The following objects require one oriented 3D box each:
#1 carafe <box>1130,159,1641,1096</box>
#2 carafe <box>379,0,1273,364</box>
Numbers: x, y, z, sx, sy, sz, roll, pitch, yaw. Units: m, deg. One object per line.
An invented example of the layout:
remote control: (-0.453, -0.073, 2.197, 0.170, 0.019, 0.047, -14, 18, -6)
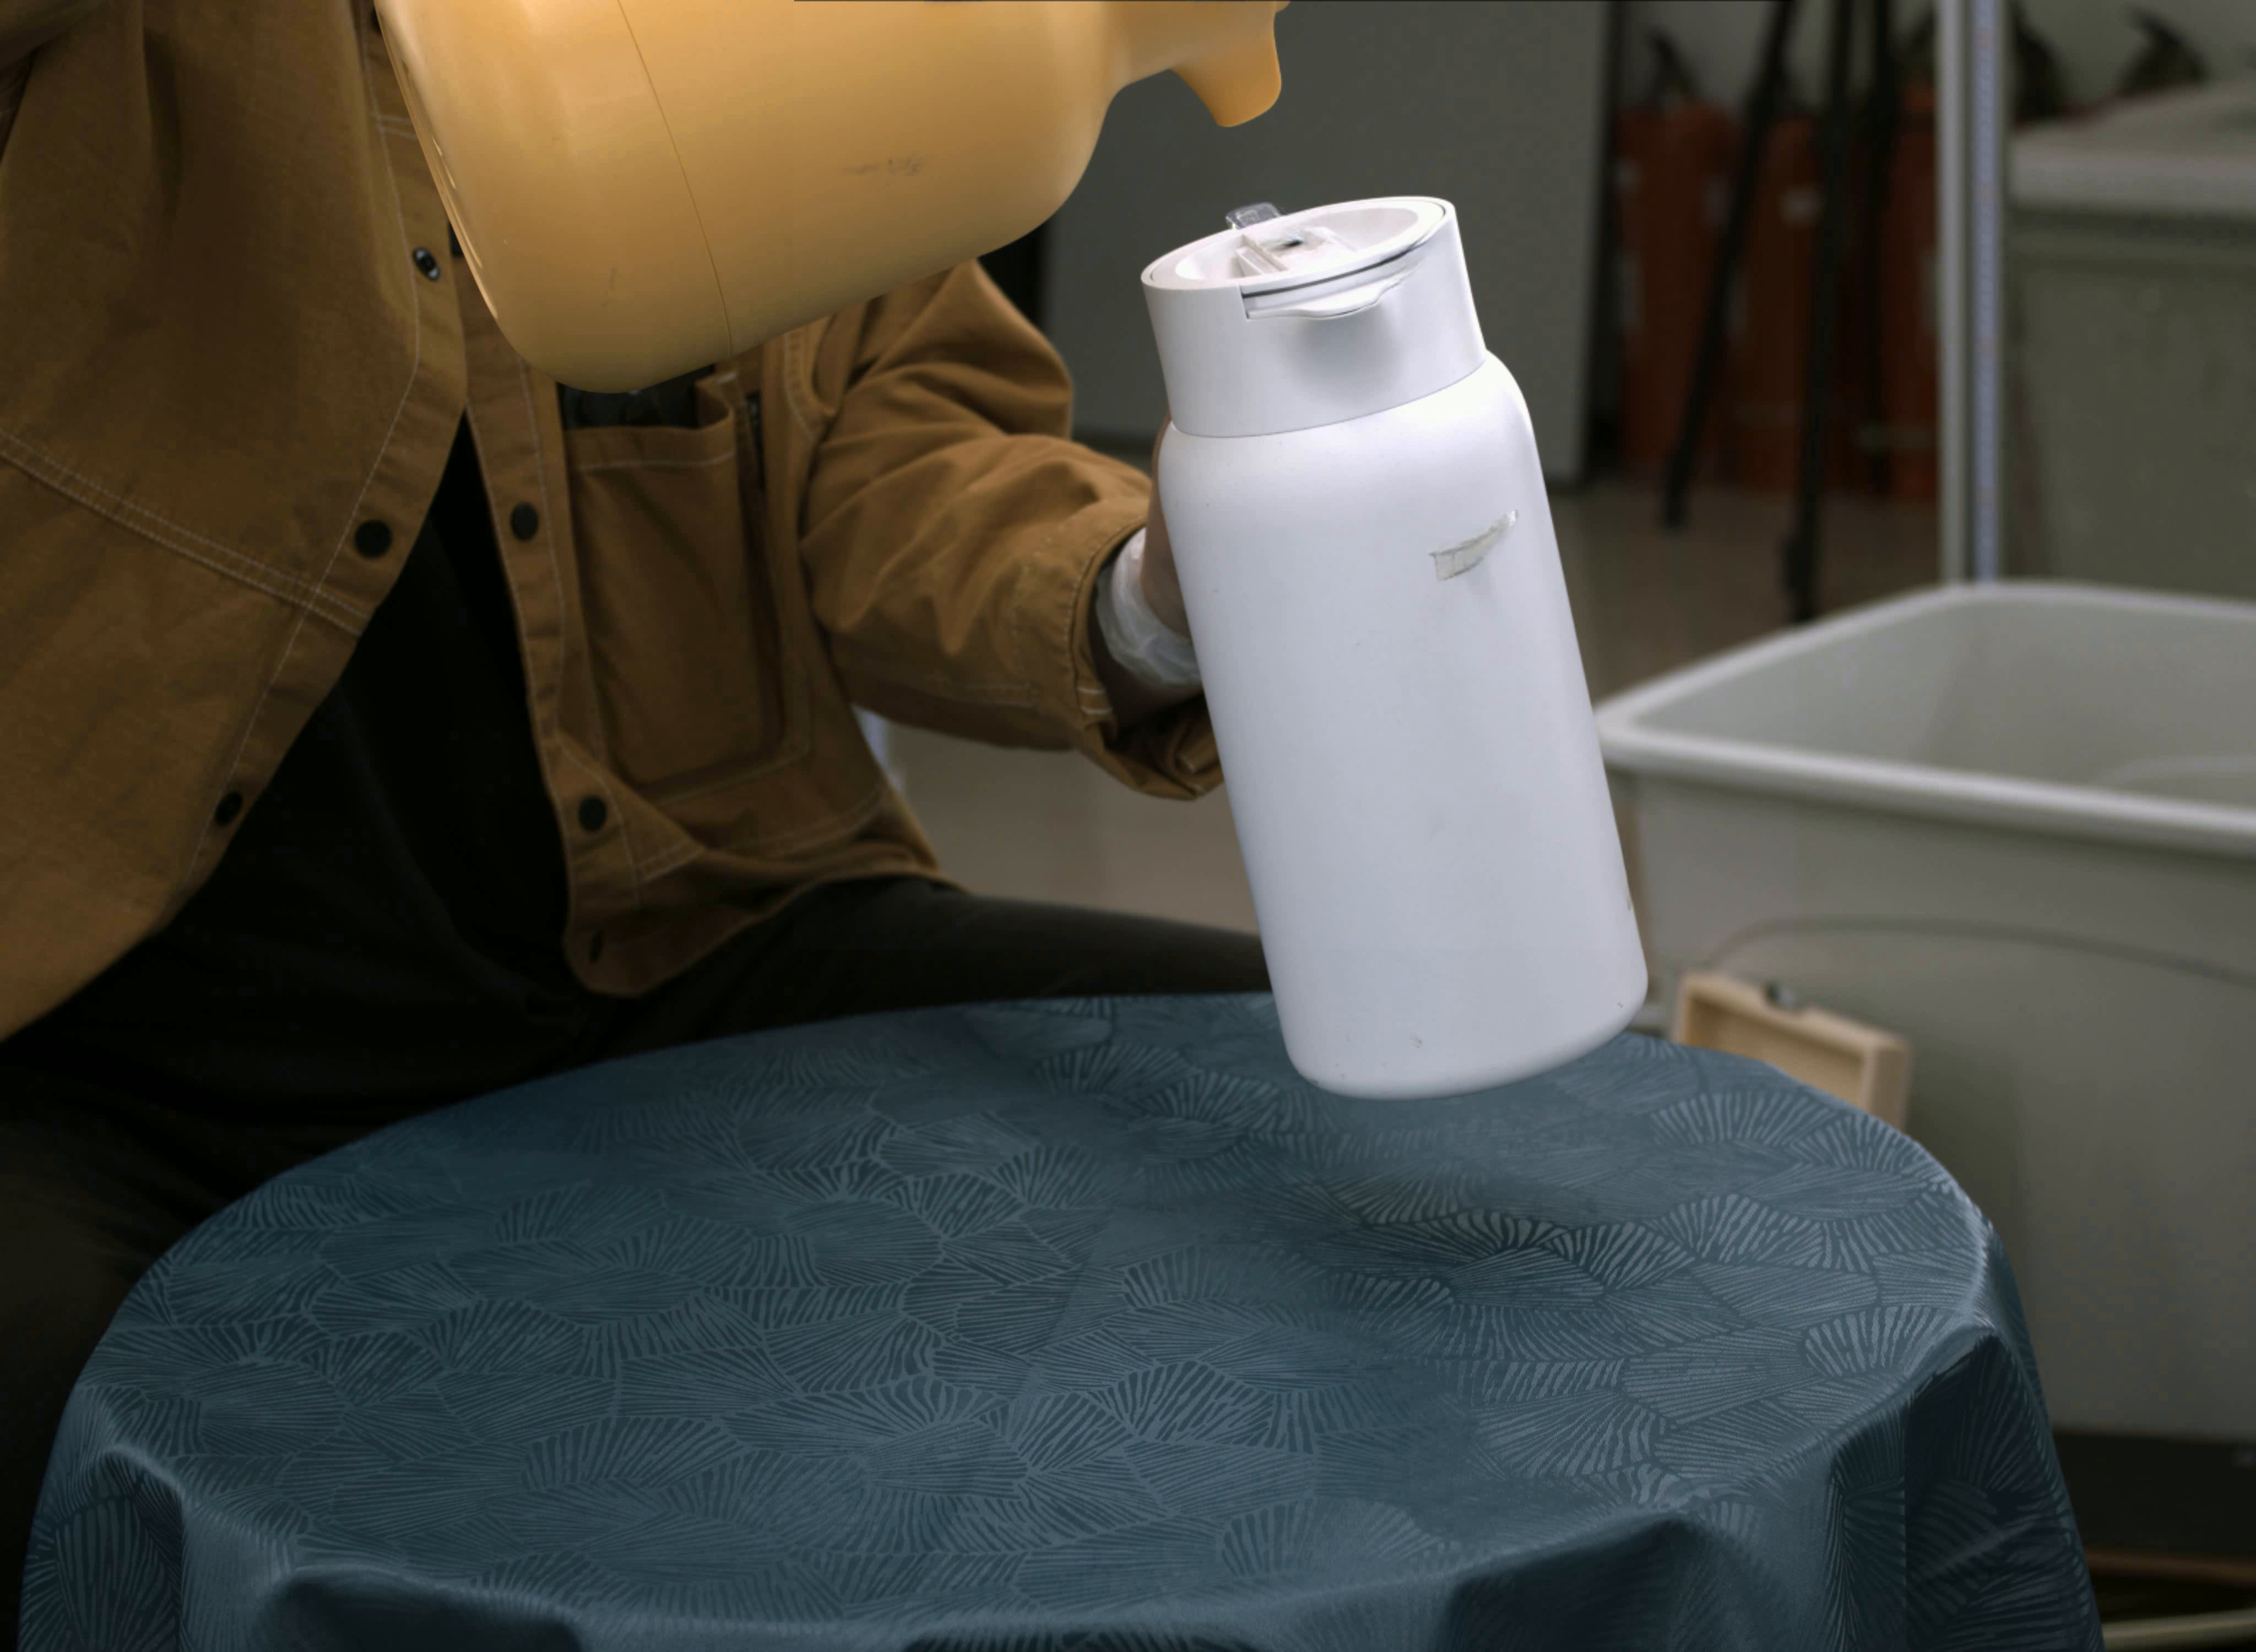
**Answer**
carafe: (0.073, -0.063, 1.680, 0.122, 0.271, 0.174, -17, 16, -5)
carafe: (-0.087, -0.264, 1.563, 0.257, 0.203, 0.165, -22, 21, -11)
